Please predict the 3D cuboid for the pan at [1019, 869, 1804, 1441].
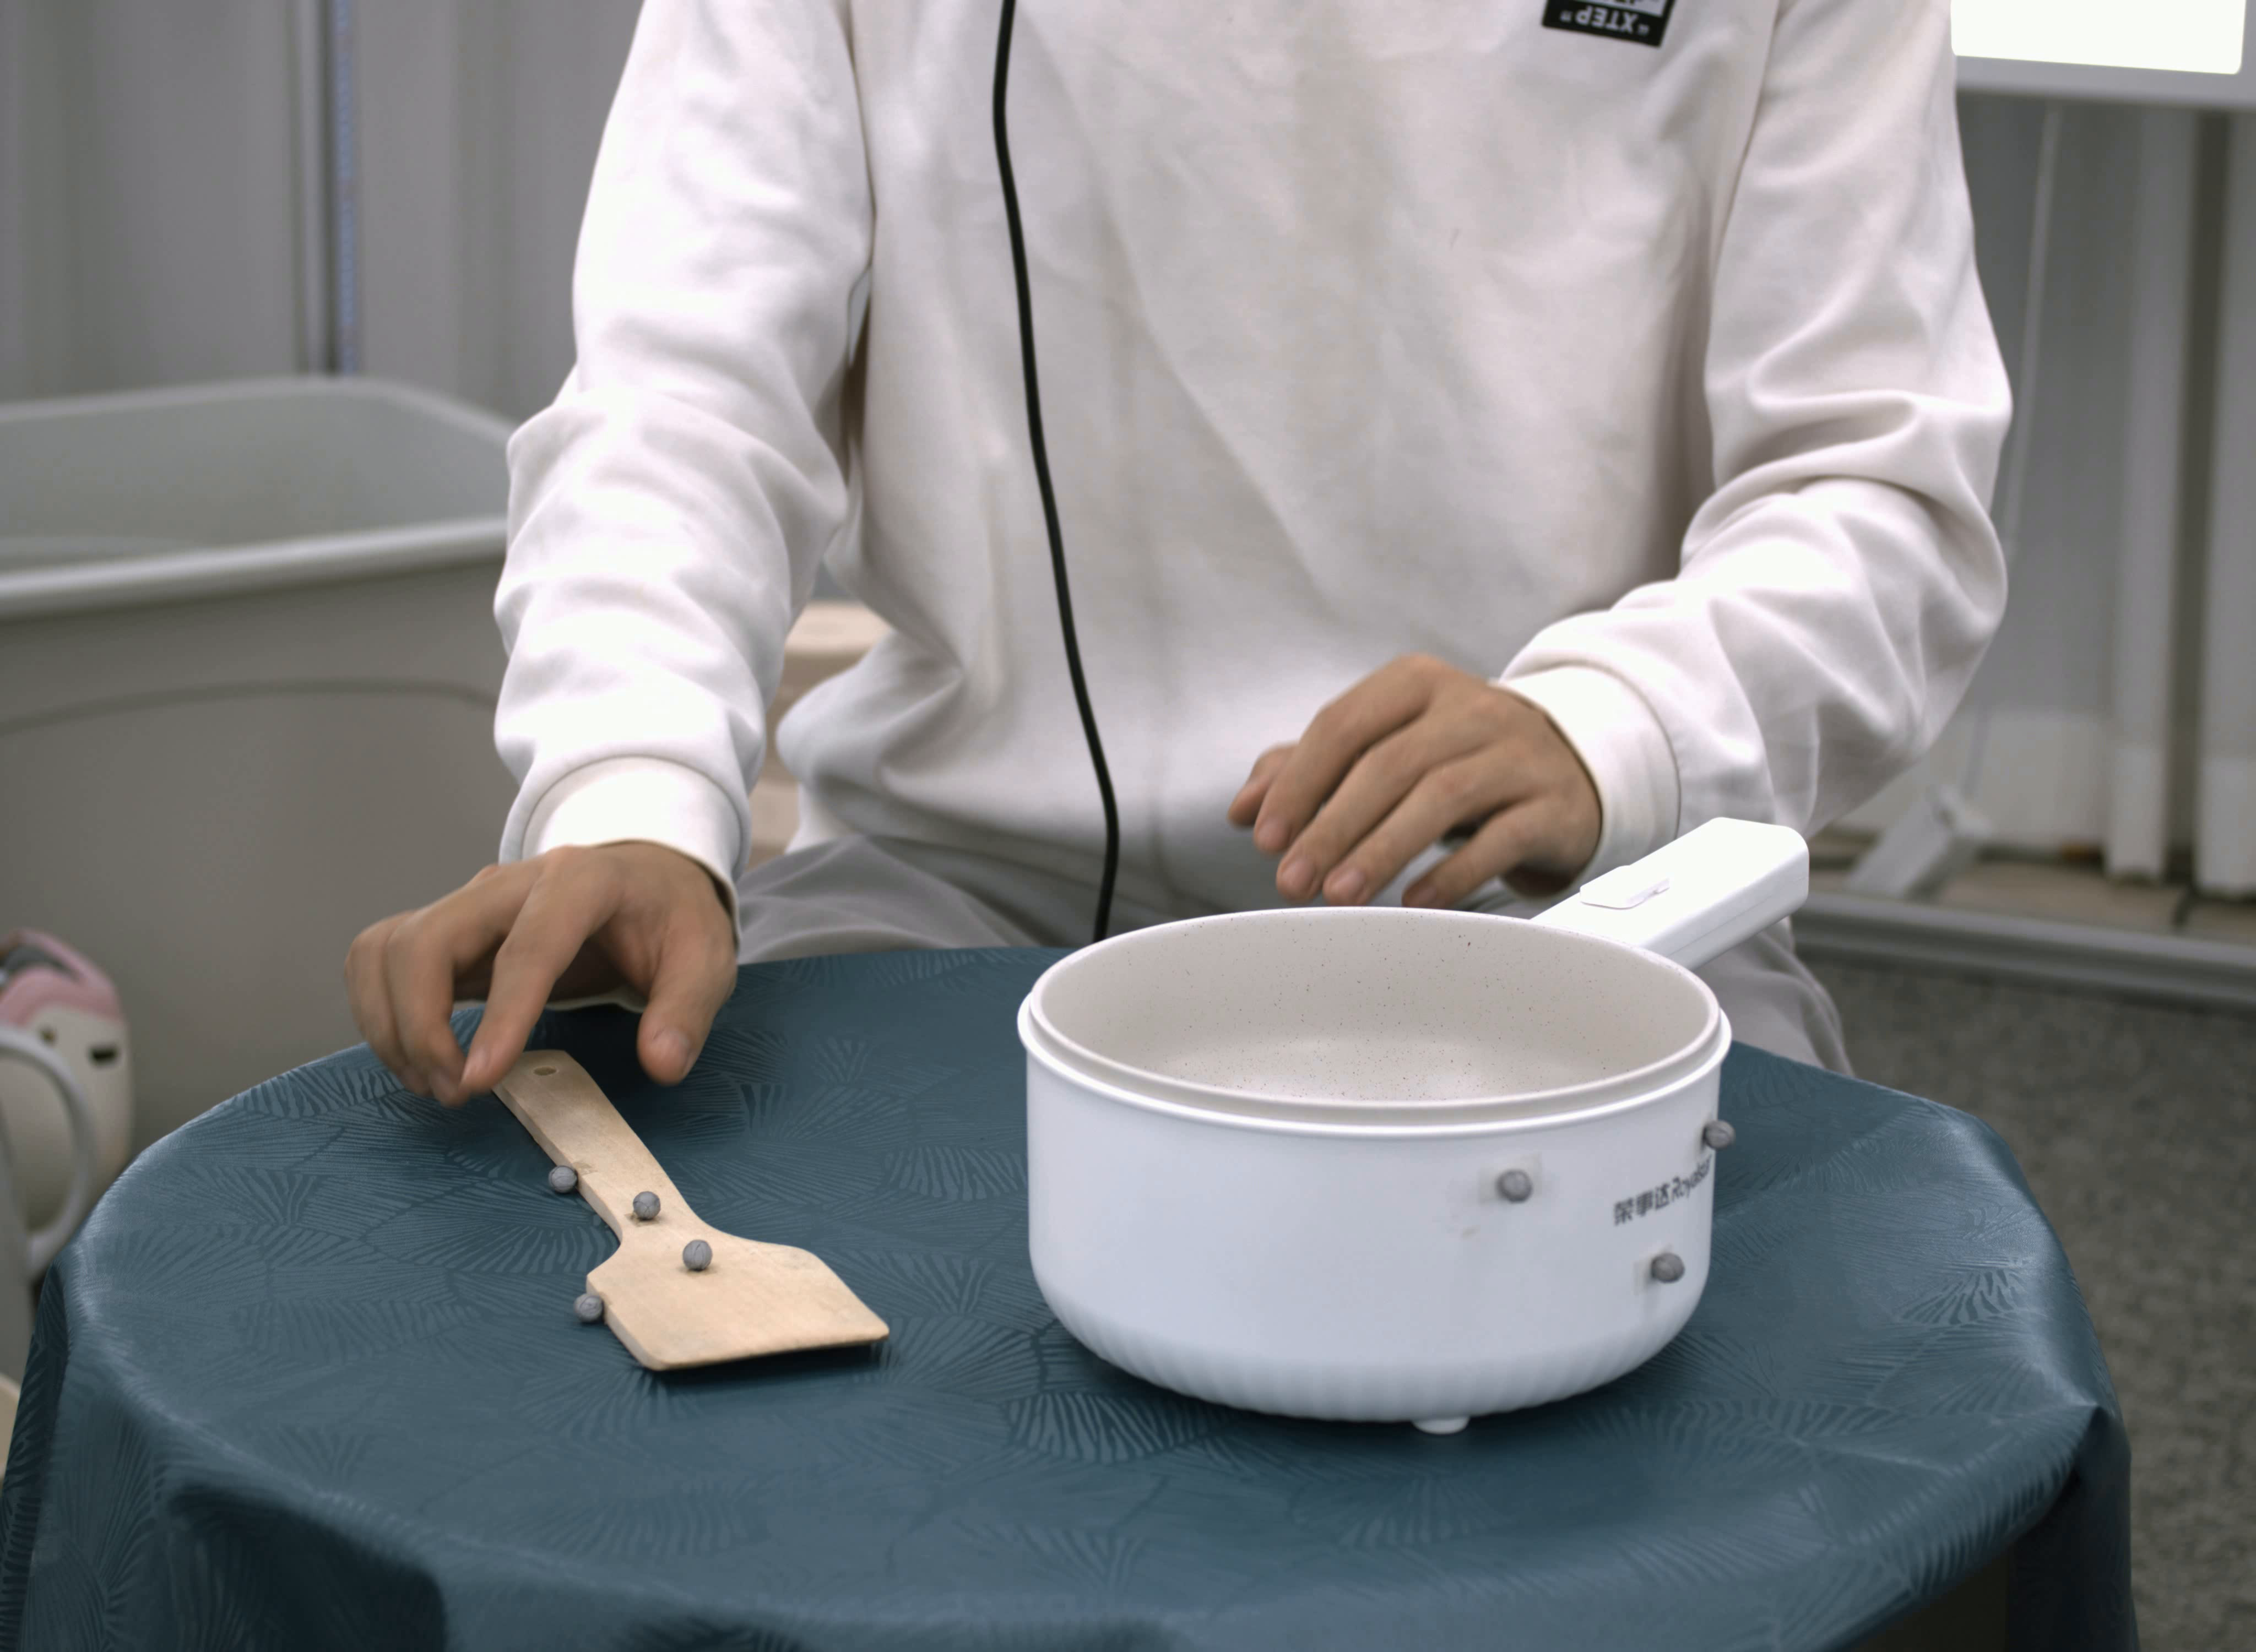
[{"bbox_3d":[0.109,0.091,1.562,0.199,0.103,0.356,5,13,30],"label":"pan"}]
